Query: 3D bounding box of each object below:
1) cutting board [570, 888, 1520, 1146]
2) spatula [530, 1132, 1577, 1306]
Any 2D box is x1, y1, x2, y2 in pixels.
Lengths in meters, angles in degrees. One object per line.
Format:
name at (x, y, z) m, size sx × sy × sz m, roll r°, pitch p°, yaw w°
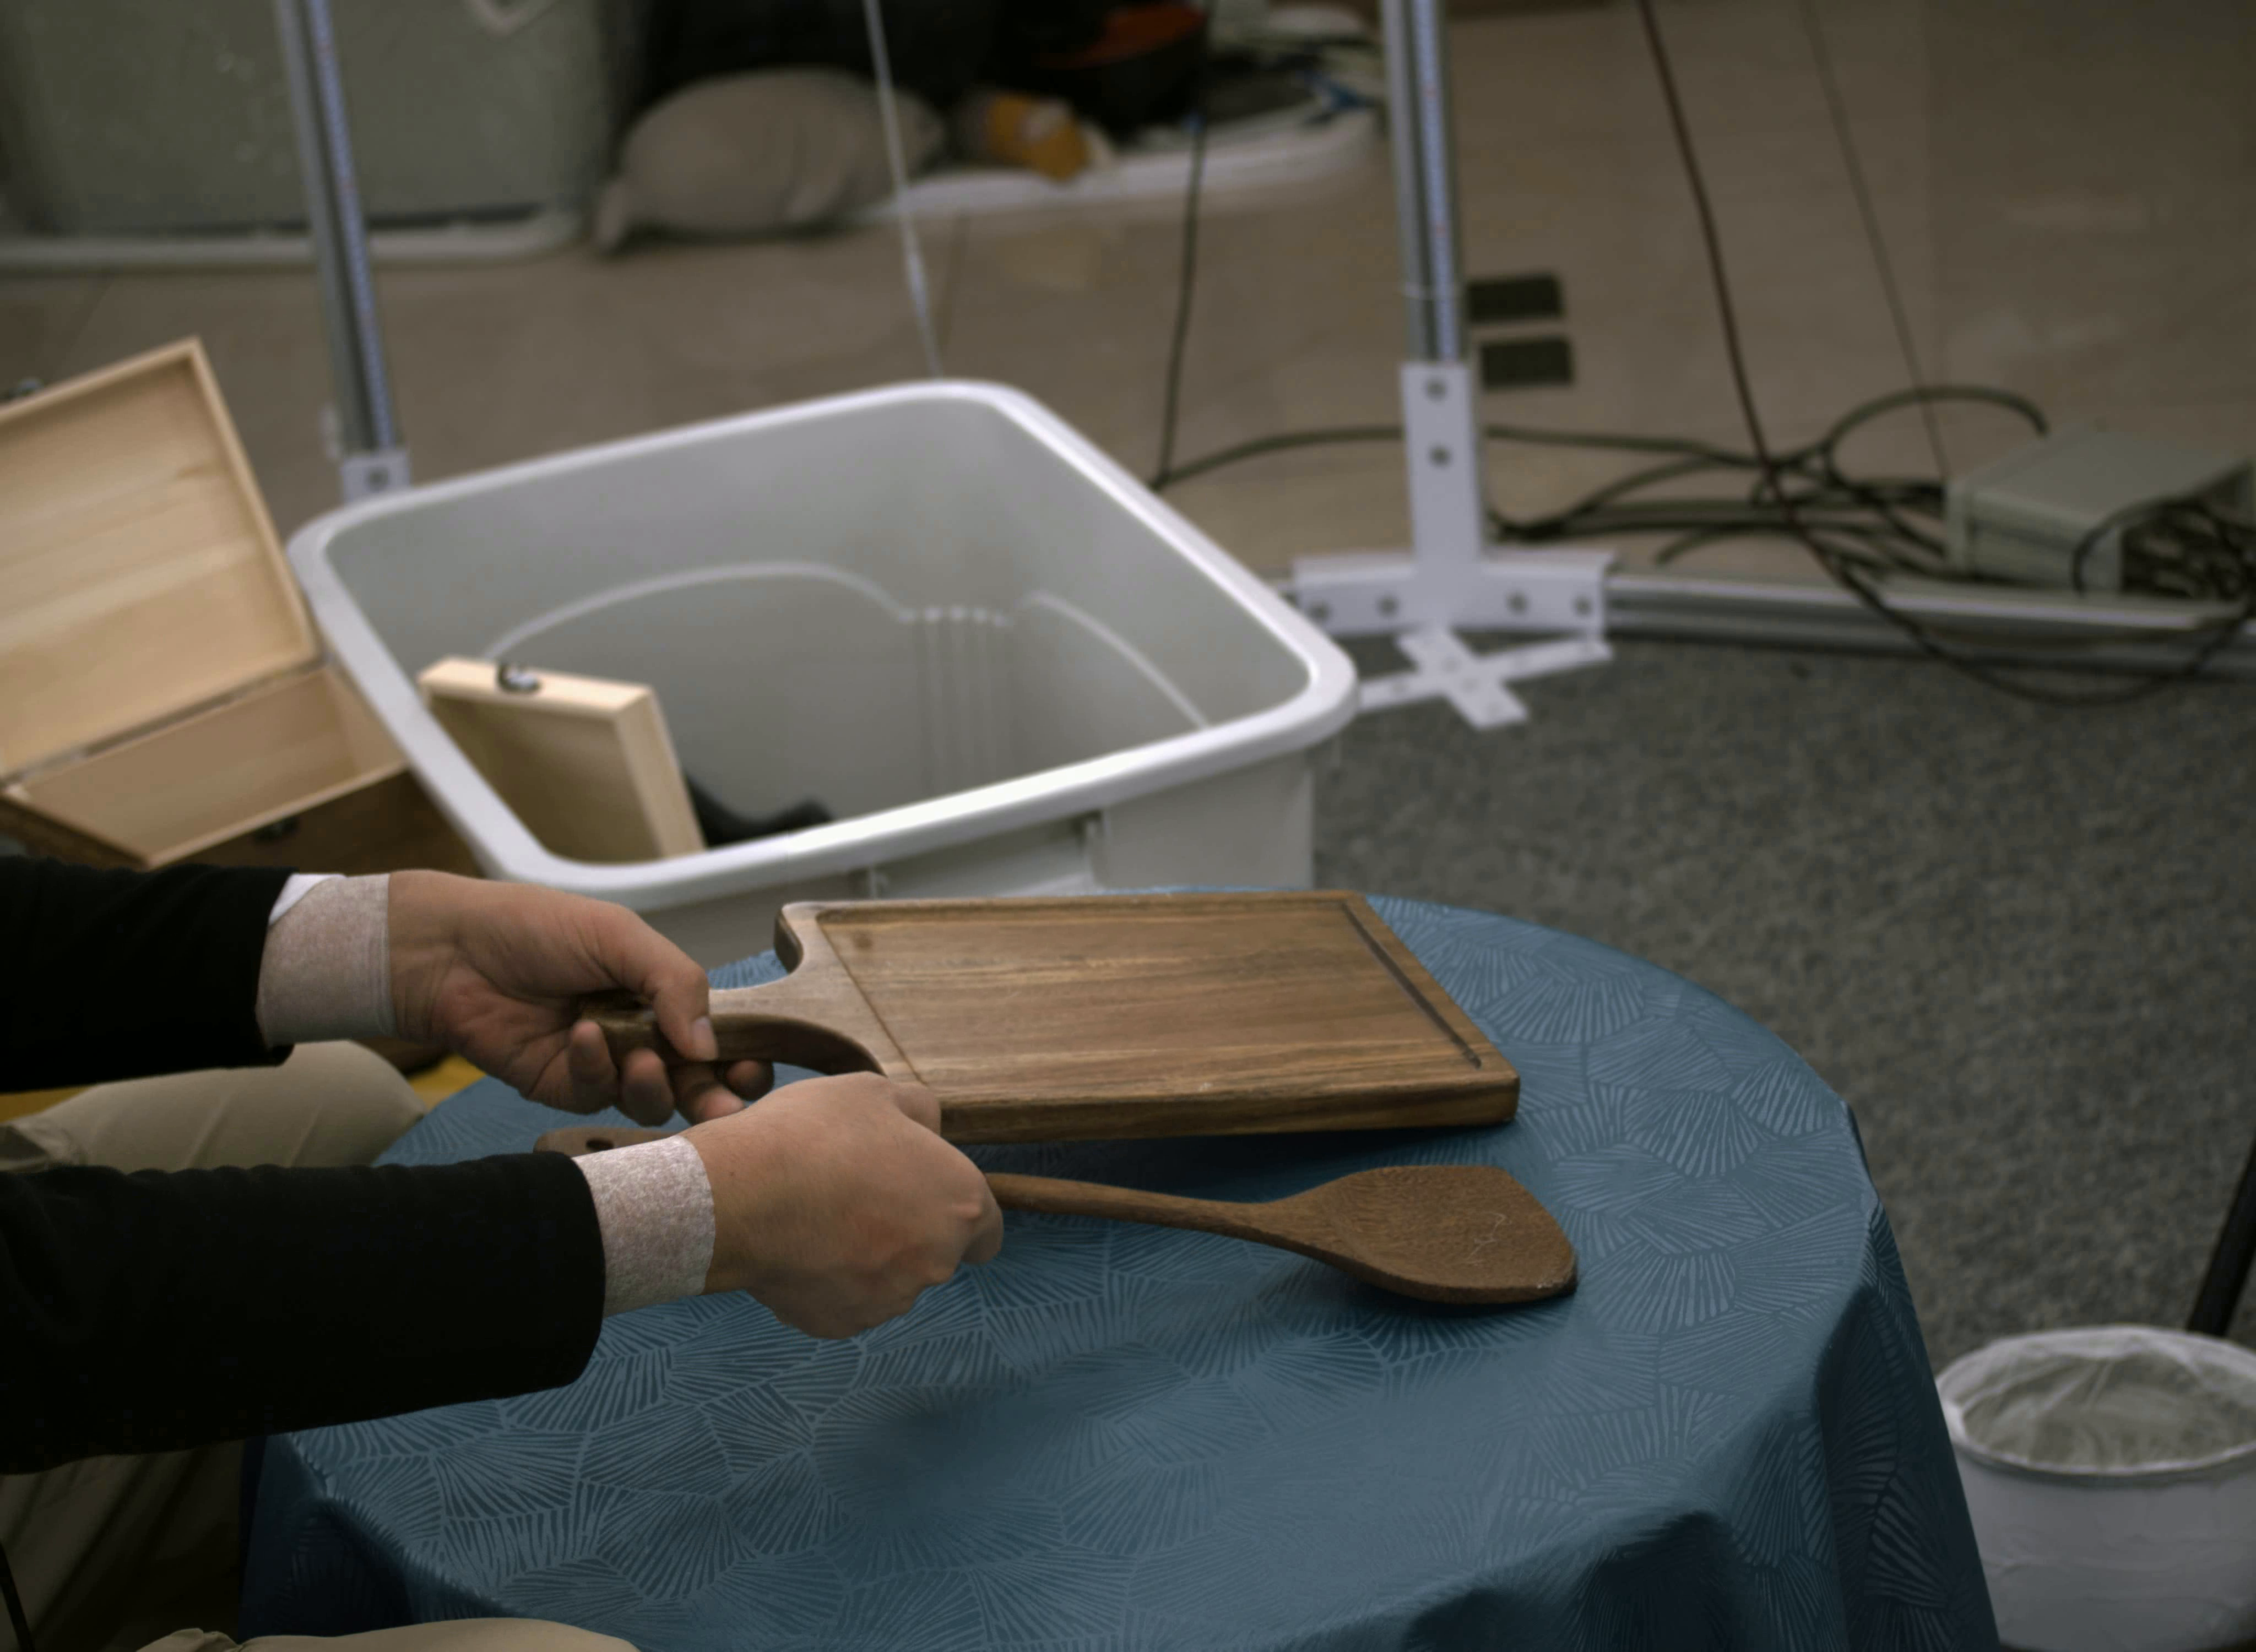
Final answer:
cutting board at (-0.044, 0.073, 2.190) m, size 0.351 × 0.023 × 0.198 m, roll -1°, pitch 22°, yaw -19°
spatula at (-0.024, 0.134, 2.023) m, size 0.386 × 0.016 × 0.094 m, roll 6°, pitch 25°, yaw -18°
